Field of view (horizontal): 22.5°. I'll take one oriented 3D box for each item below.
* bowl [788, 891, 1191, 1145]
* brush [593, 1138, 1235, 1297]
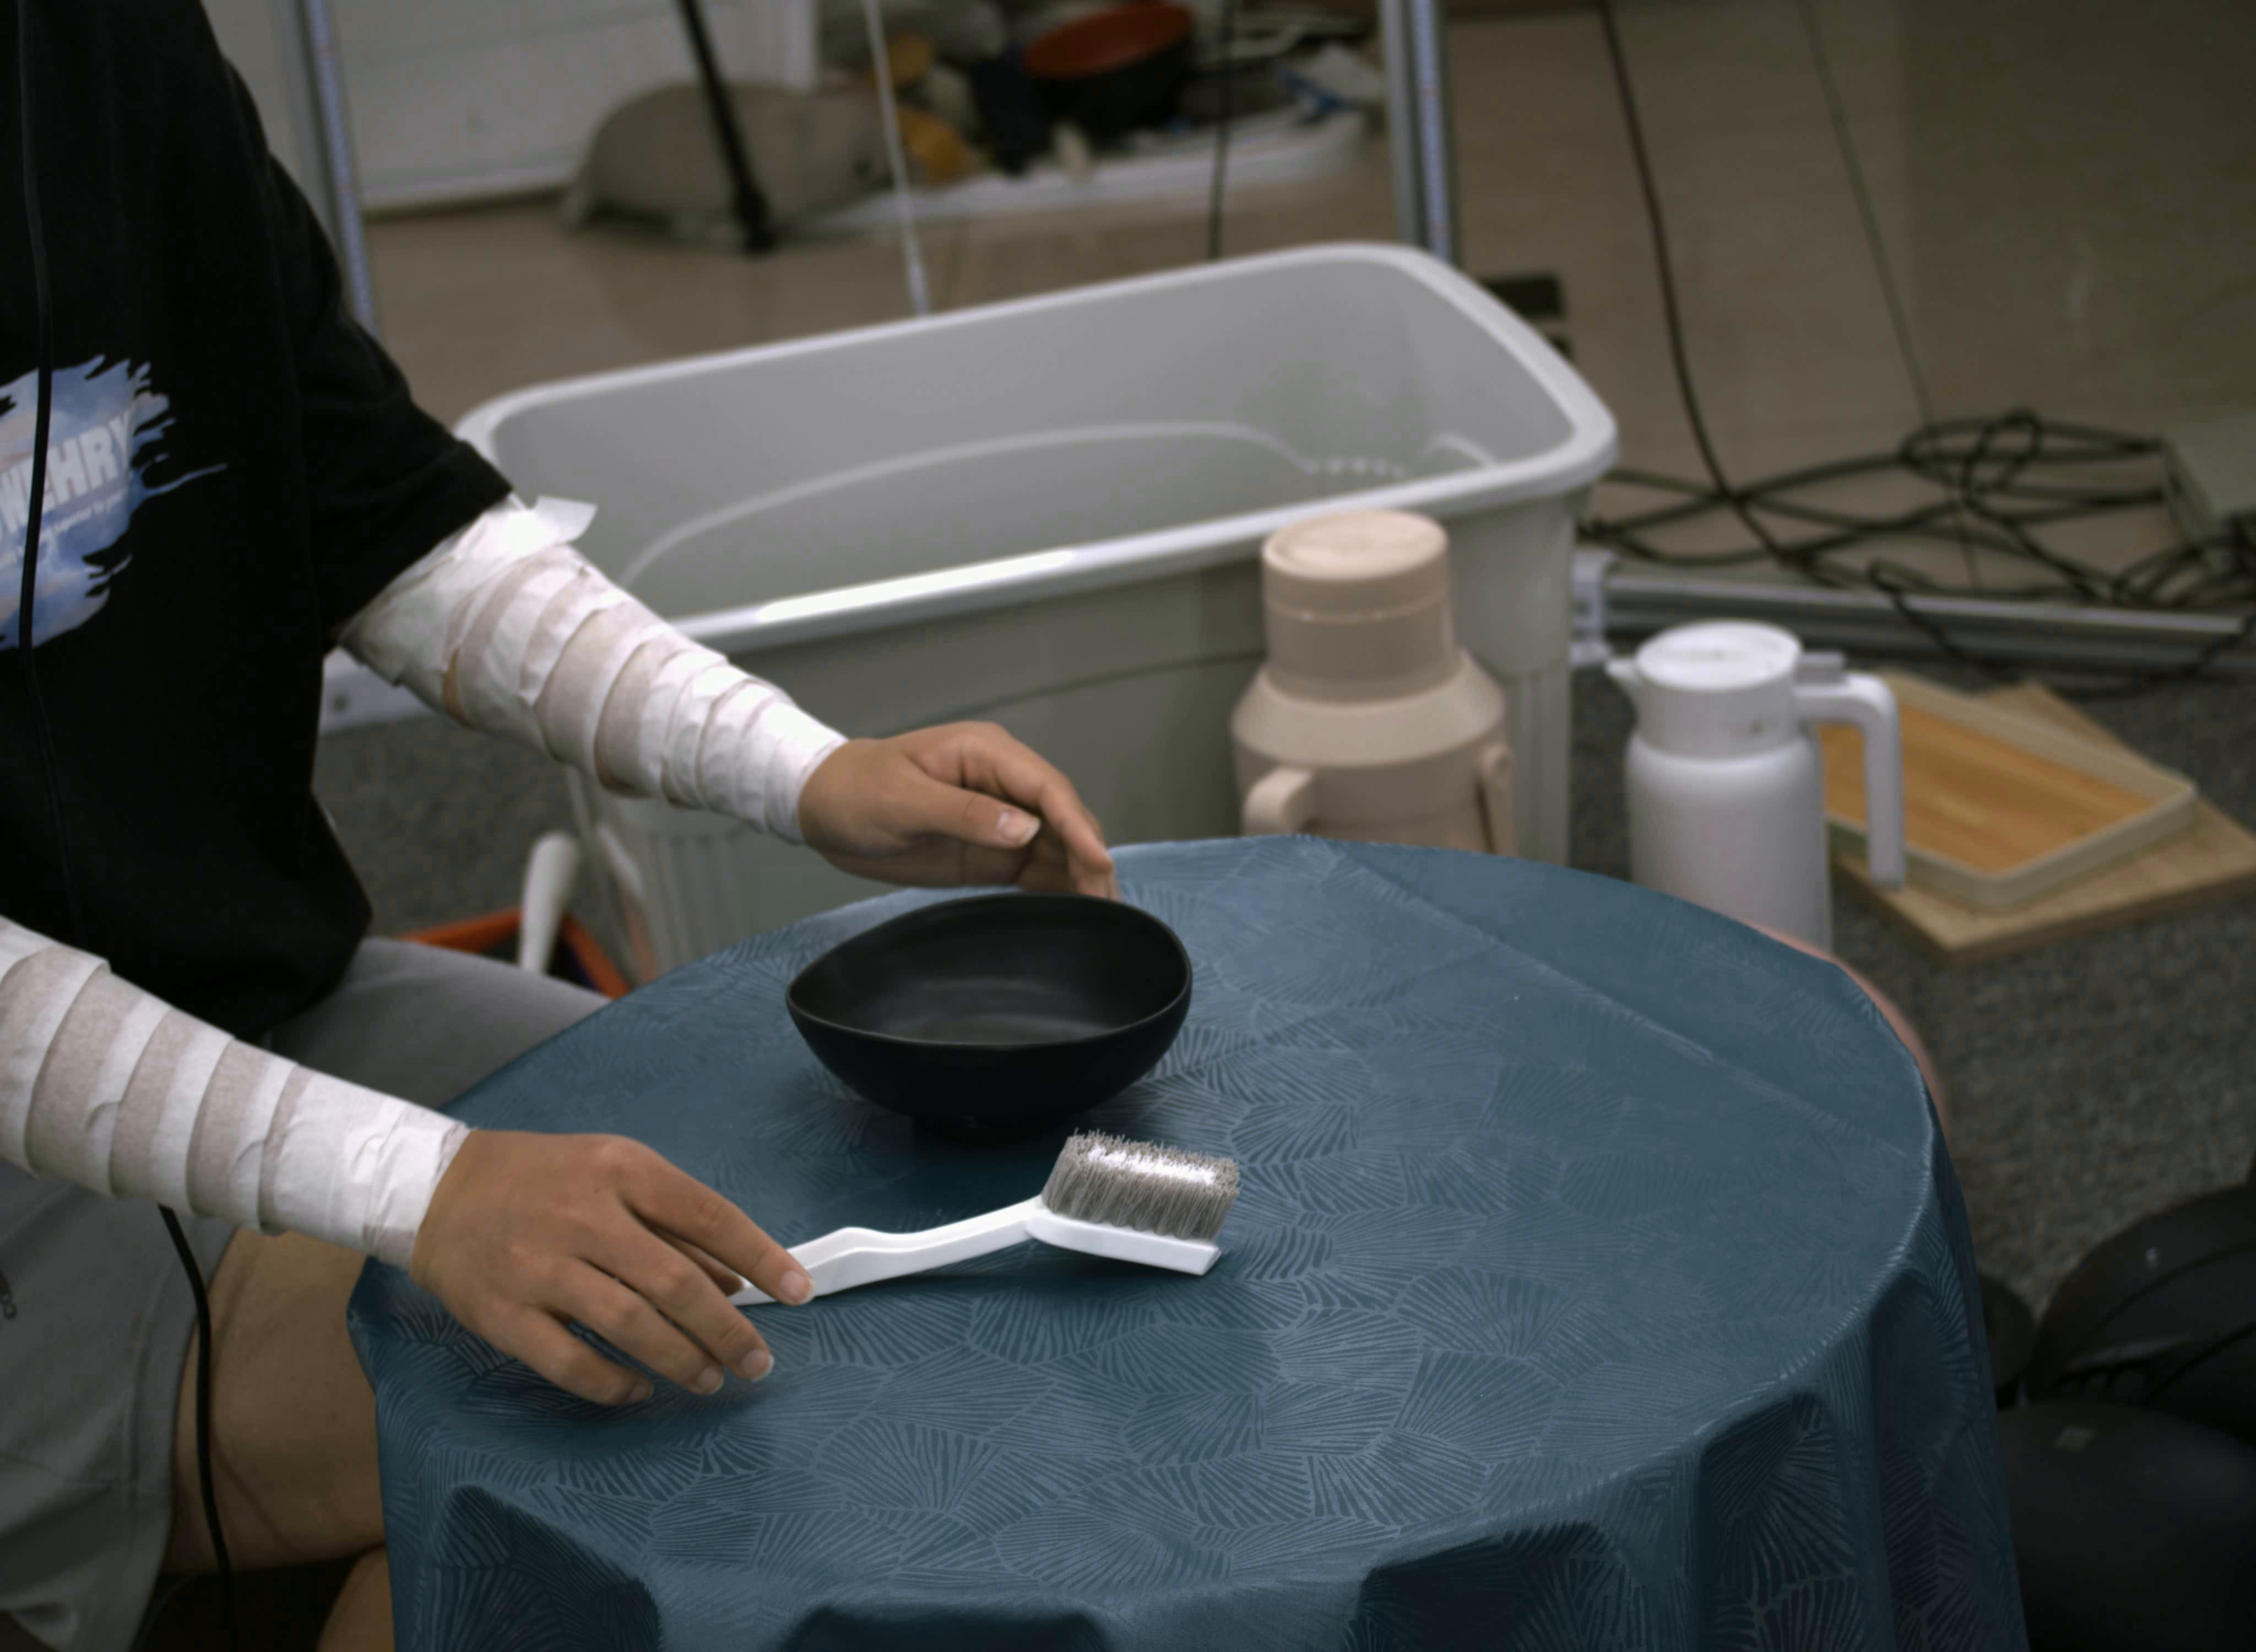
[{"bbox_3d":[-0.053,0.082,2.209,0.170,0.068,0.135,5,27,29],"label":"bowl"},{"bbox_3d":[-0.081,0.145,2.096,0.243,0.051,0.034,-3,27,7],"label":"brush"}]
